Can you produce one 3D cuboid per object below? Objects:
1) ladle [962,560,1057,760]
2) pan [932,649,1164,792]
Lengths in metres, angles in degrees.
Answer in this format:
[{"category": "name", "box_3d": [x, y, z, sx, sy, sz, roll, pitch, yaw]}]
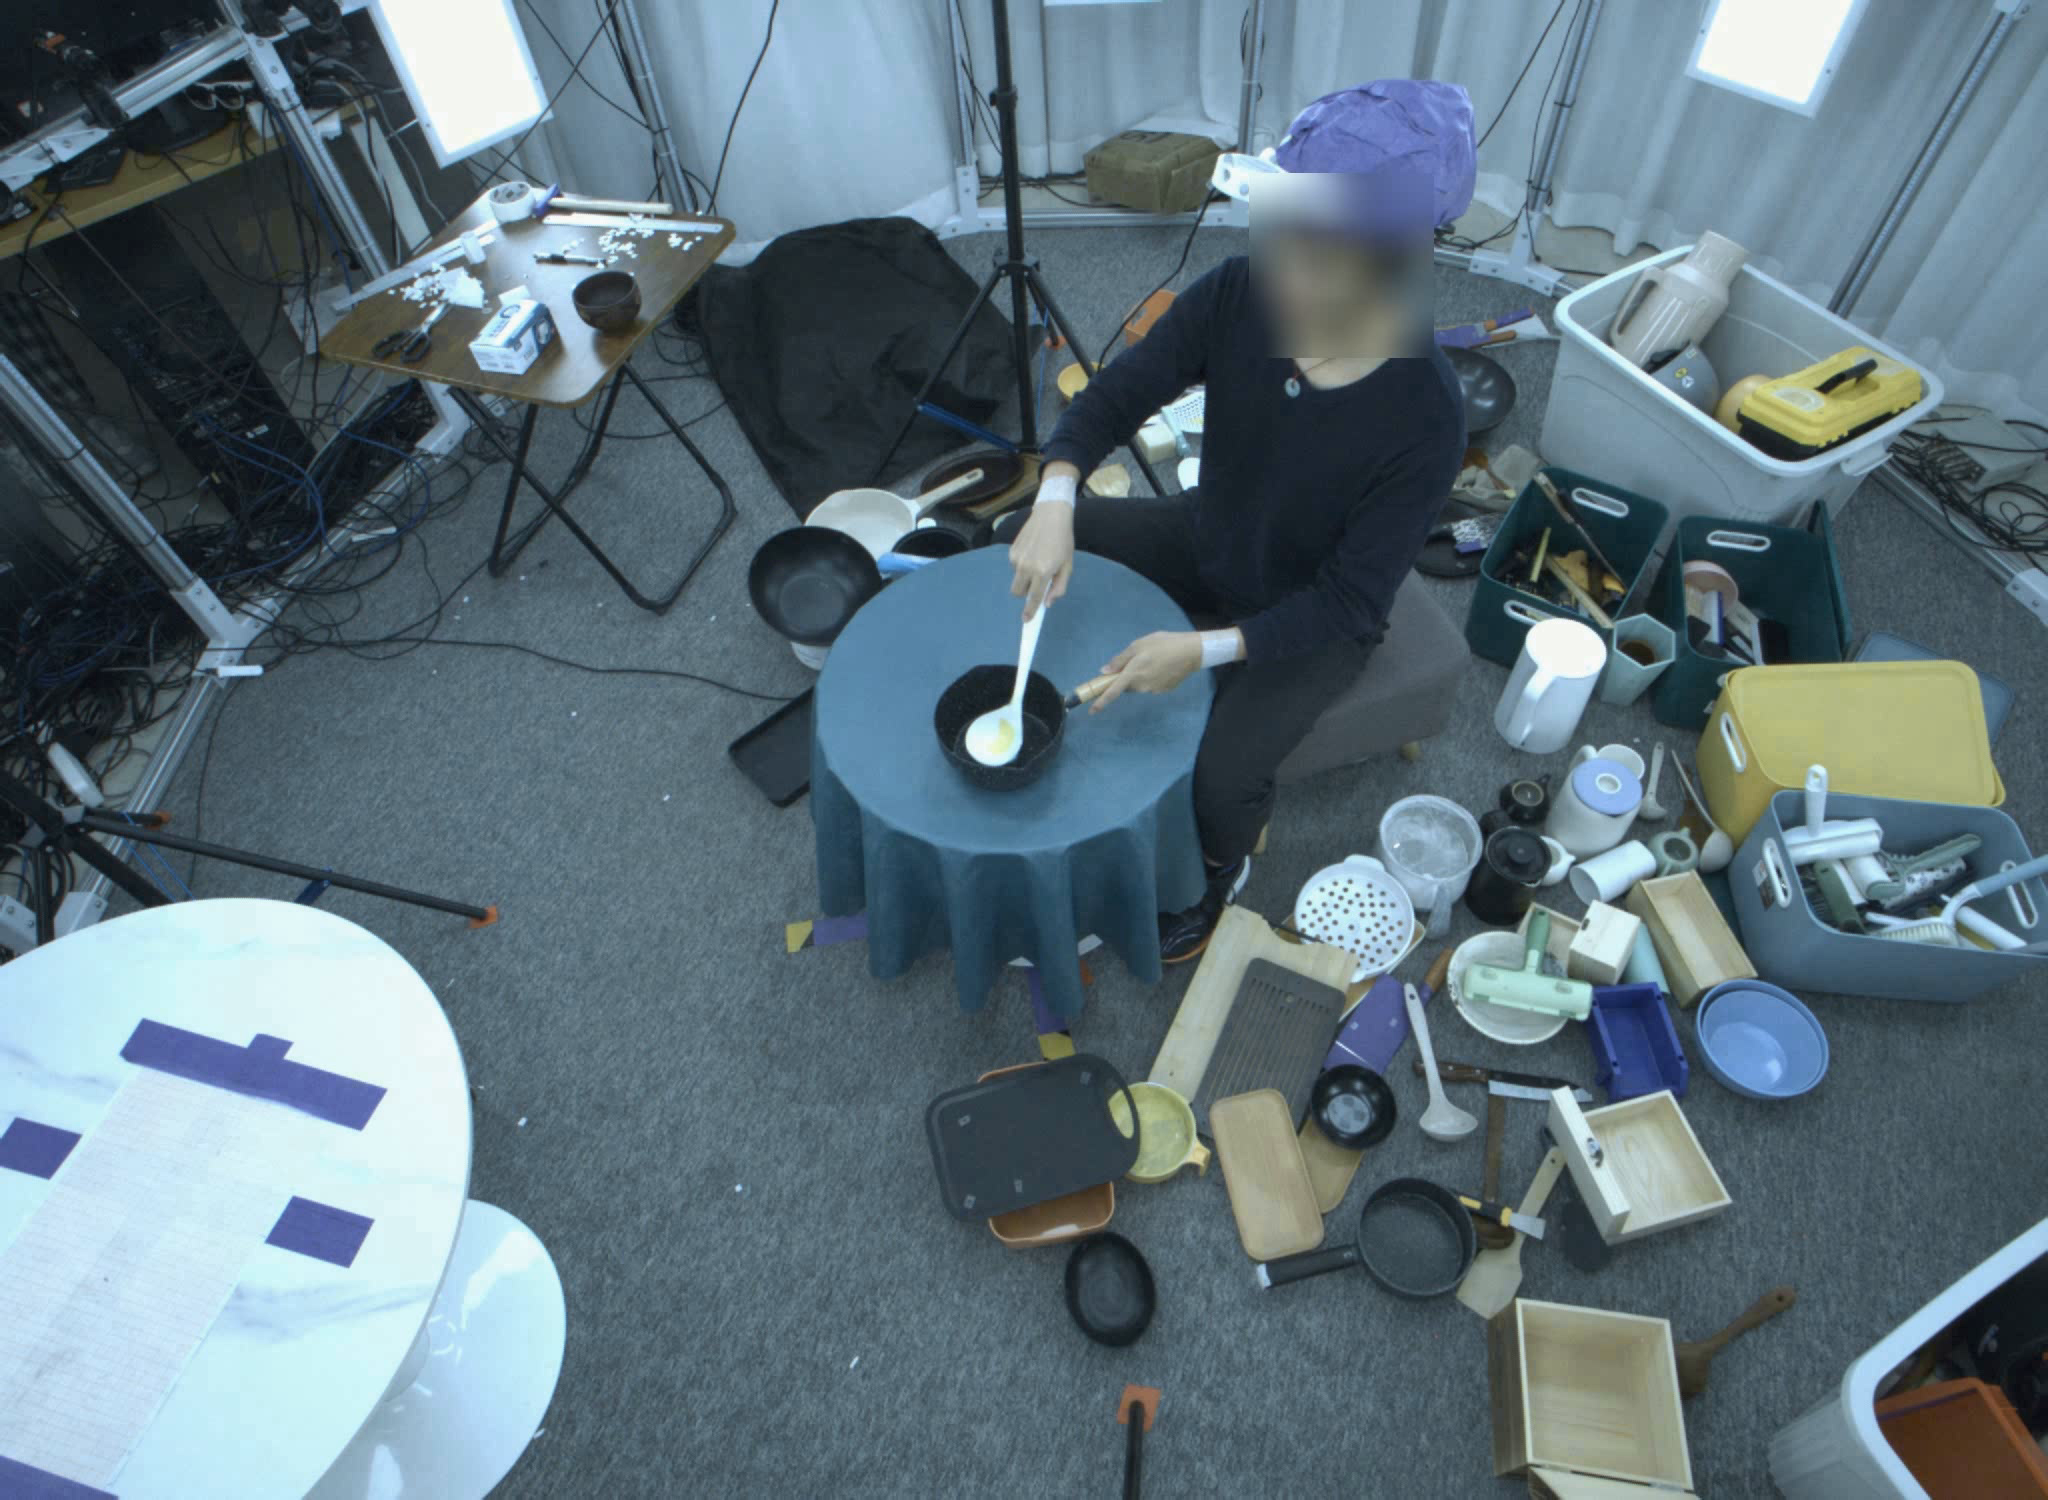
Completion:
[{"category": "ladle", "box_3d": [-0.018, -0.125, 1.724, 0.071, 0.294, 0.088, -11, 35, -44]}, {"category": "pan", "box_3d": [0.040, -0.058, 1.760, 0.345, 0.109, 0.204, -20, 55, -10]}]
